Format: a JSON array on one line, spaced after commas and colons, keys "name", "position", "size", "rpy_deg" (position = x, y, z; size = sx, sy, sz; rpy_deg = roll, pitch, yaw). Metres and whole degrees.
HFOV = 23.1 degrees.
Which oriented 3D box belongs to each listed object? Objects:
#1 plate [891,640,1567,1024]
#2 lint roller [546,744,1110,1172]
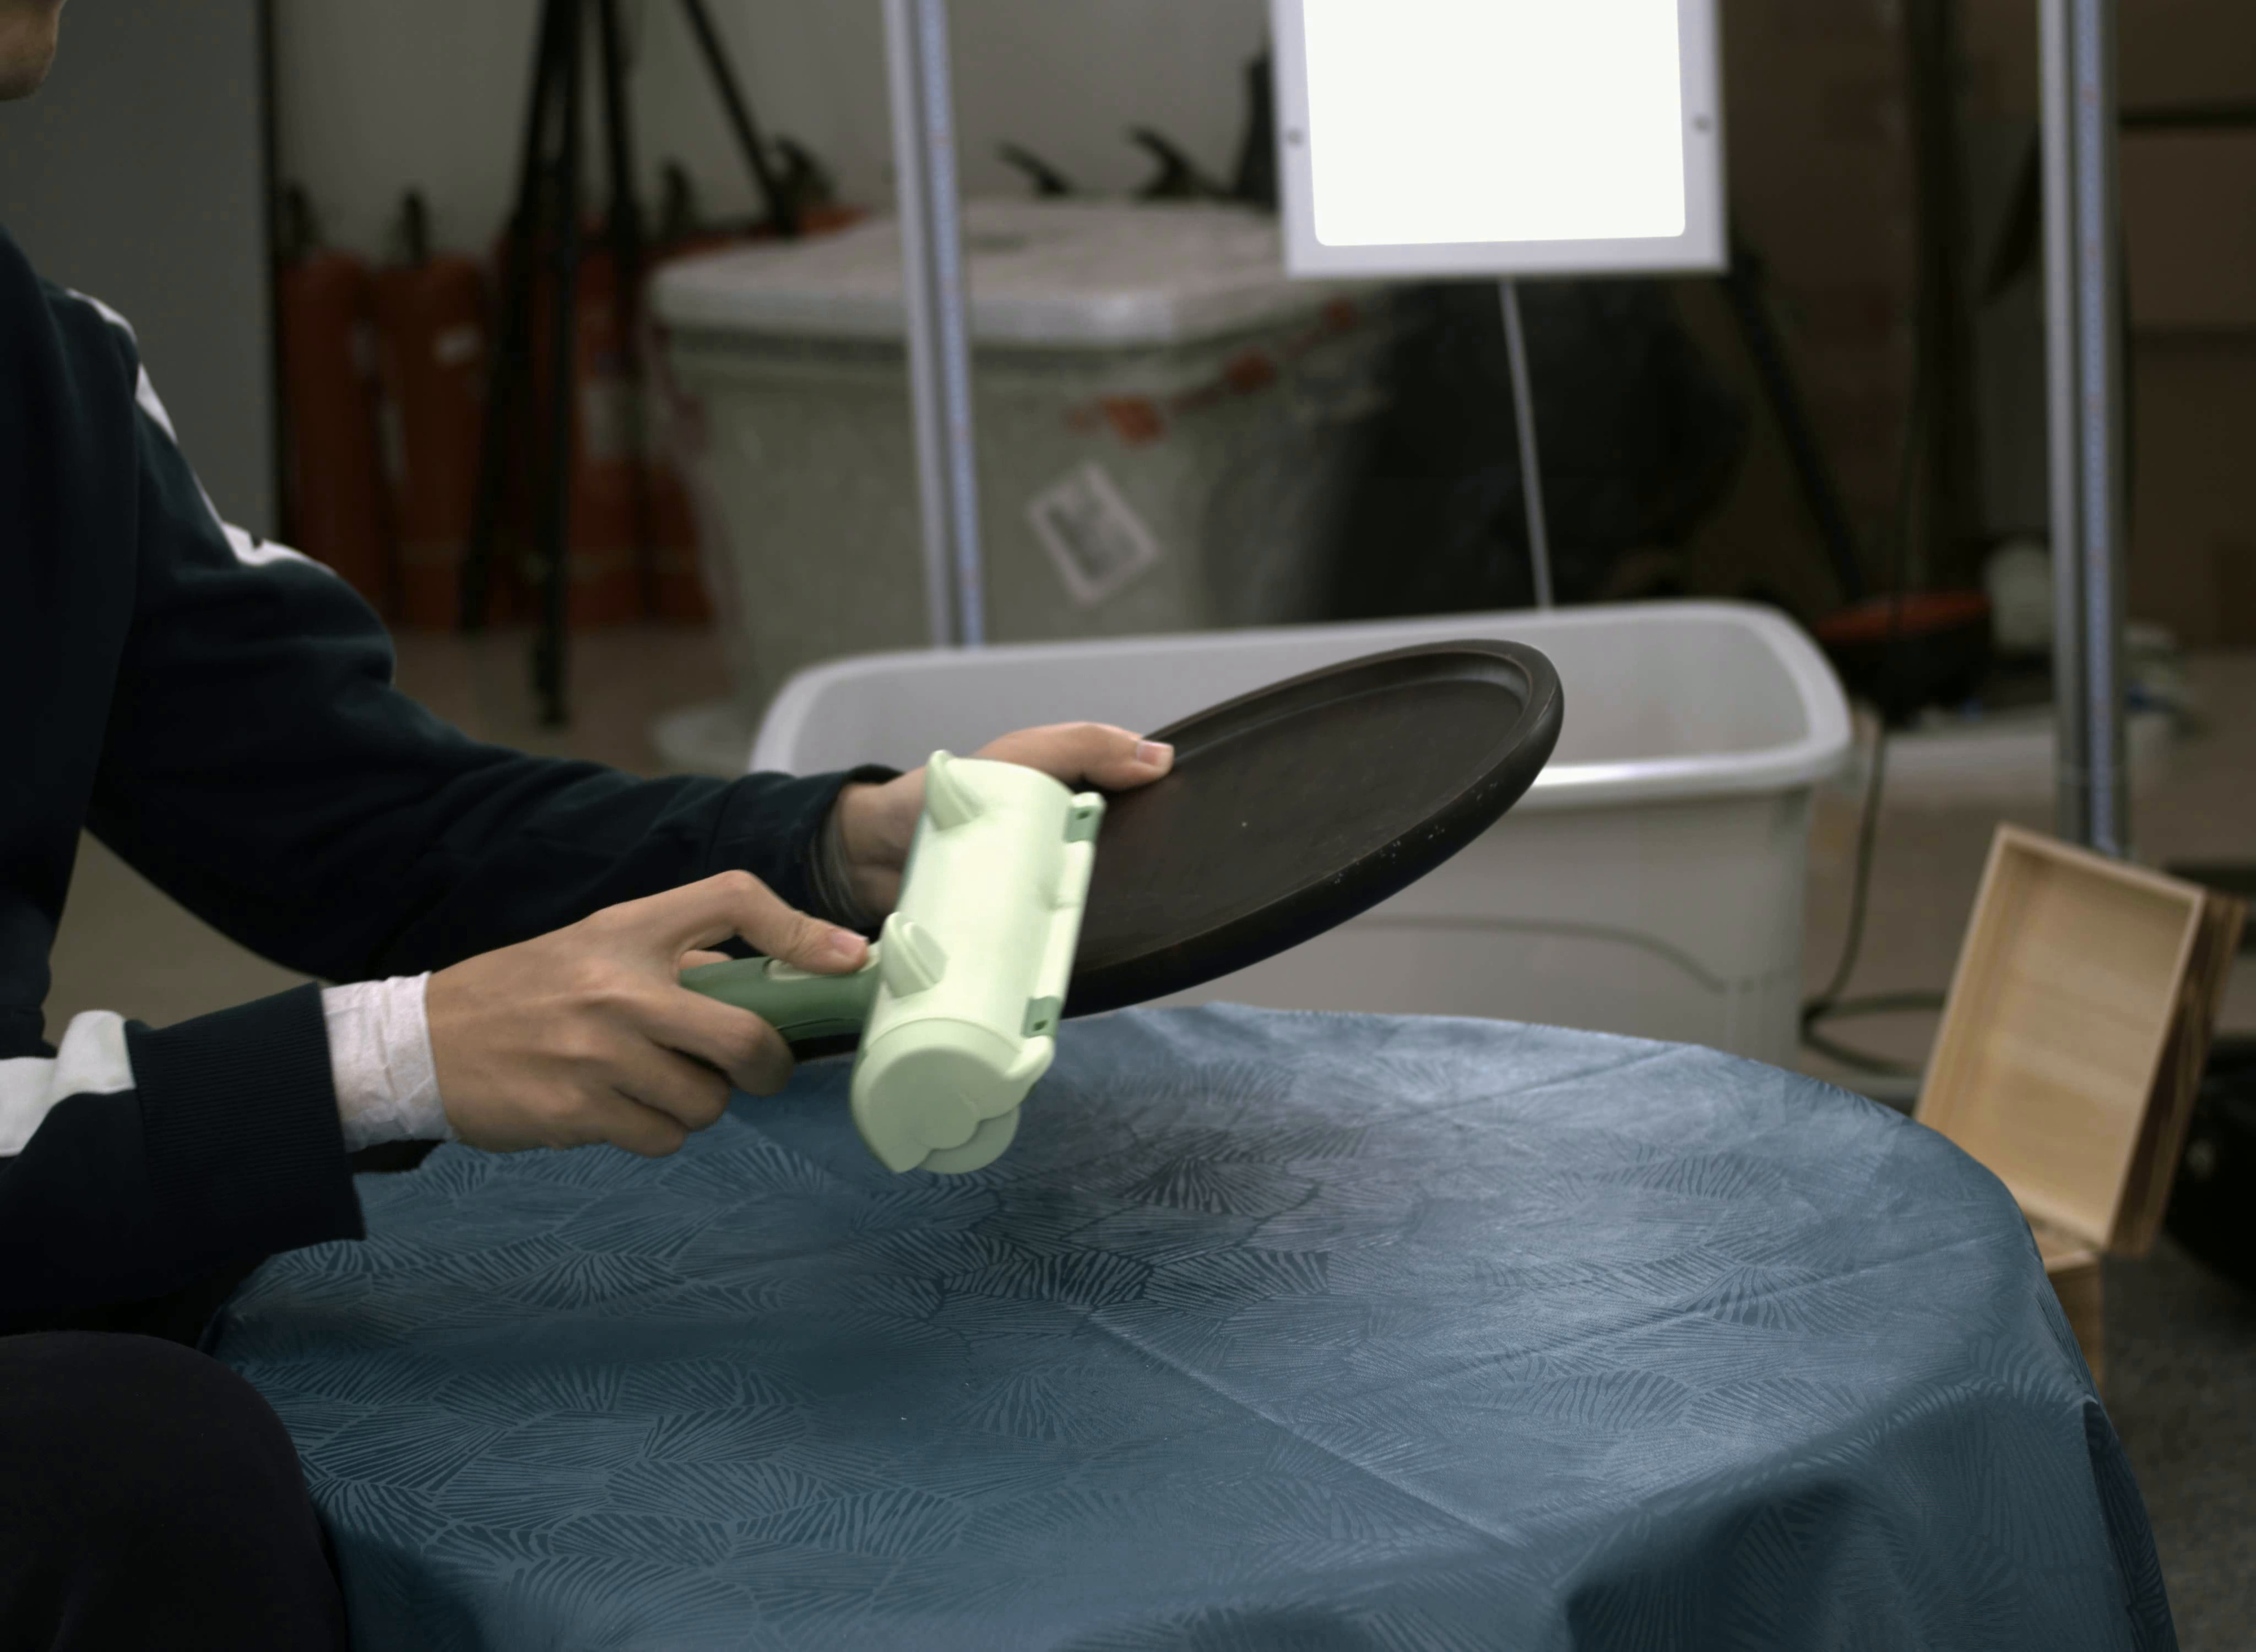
[{"name": "plate", "position": [0.035, 0.002, 1.888], "size": [0.255, 0.029, 0.254], "rpy_deg": [-24, 17, 6]}, {"name": "lint roller", "position": [-0.104, 0.040, 1.774], "size": [0.184, 0.082, 0.197], "rpy_deg": [-4, 26, 9]}]
